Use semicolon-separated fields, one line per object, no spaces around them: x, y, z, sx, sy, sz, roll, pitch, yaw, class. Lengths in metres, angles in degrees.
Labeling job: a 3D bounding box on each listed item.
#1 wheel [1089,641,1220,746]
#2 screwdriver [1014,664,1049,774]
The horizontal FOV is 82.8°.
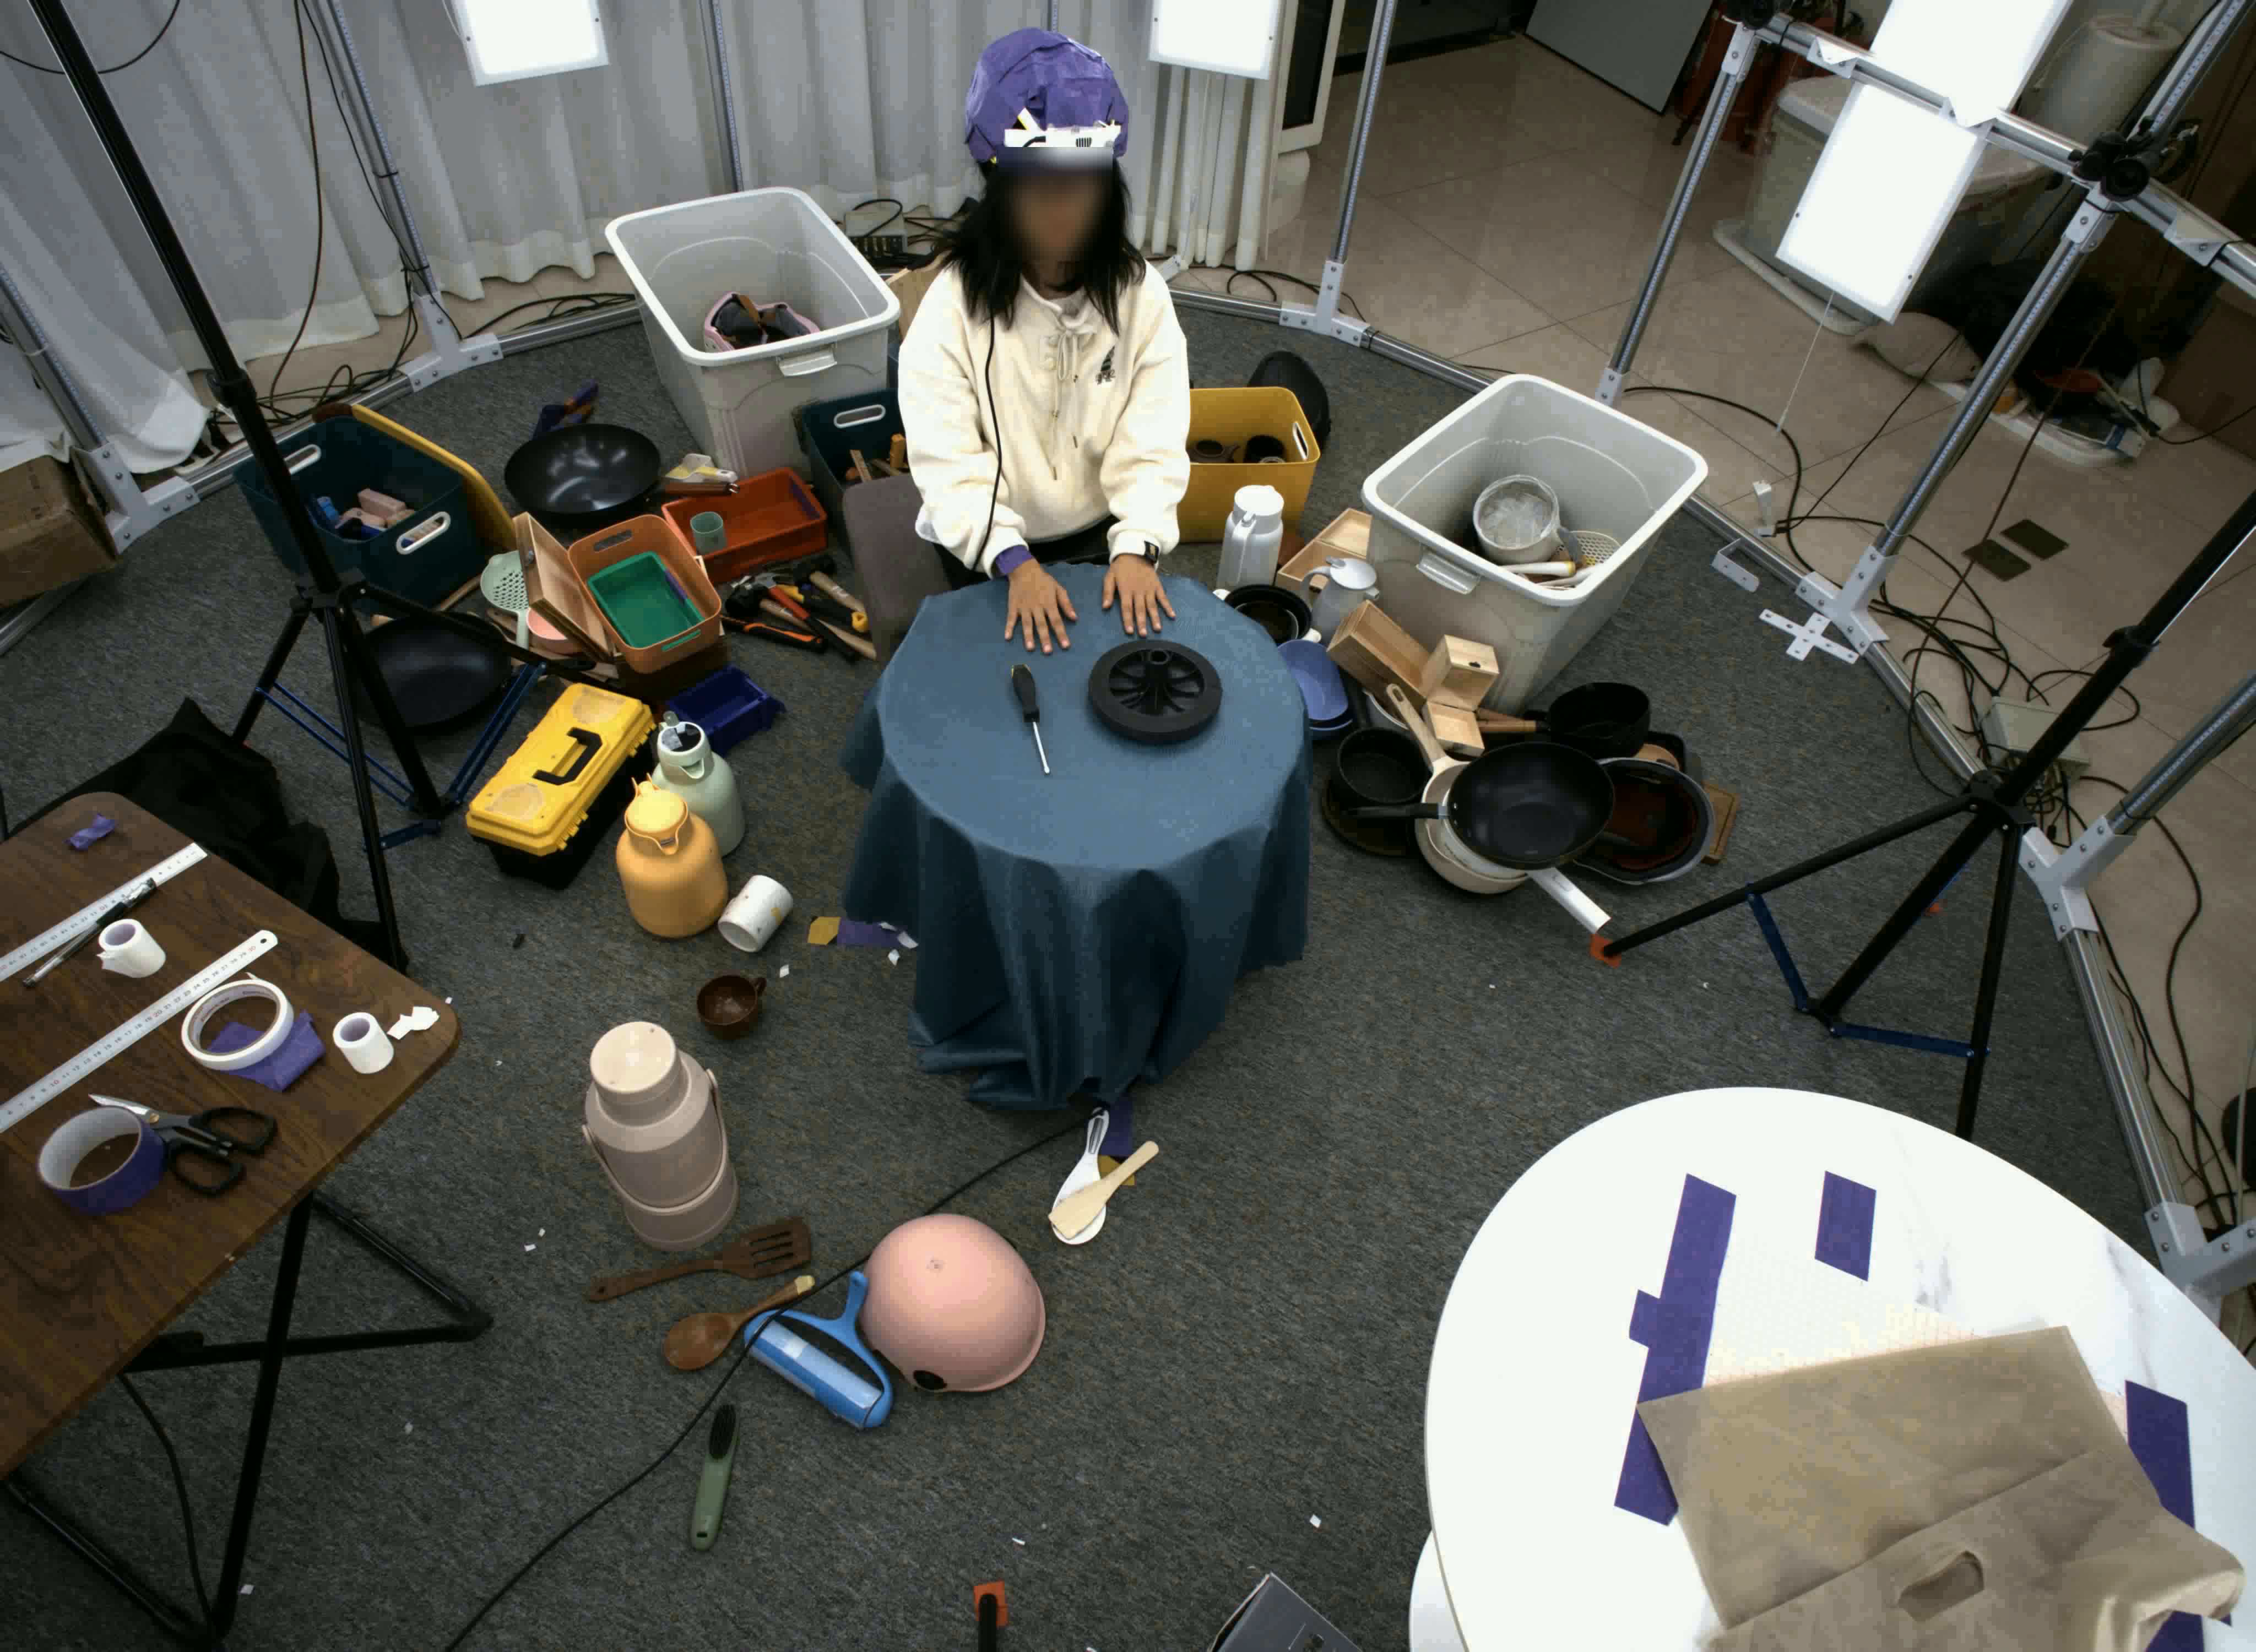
0.038;-0.203;1.801;0.189;0.077;0.192;32;57;22;wheel
-0.127;-0.150;1.776;0.031;0.031;0.201;-10;53;-13;screwdriver
